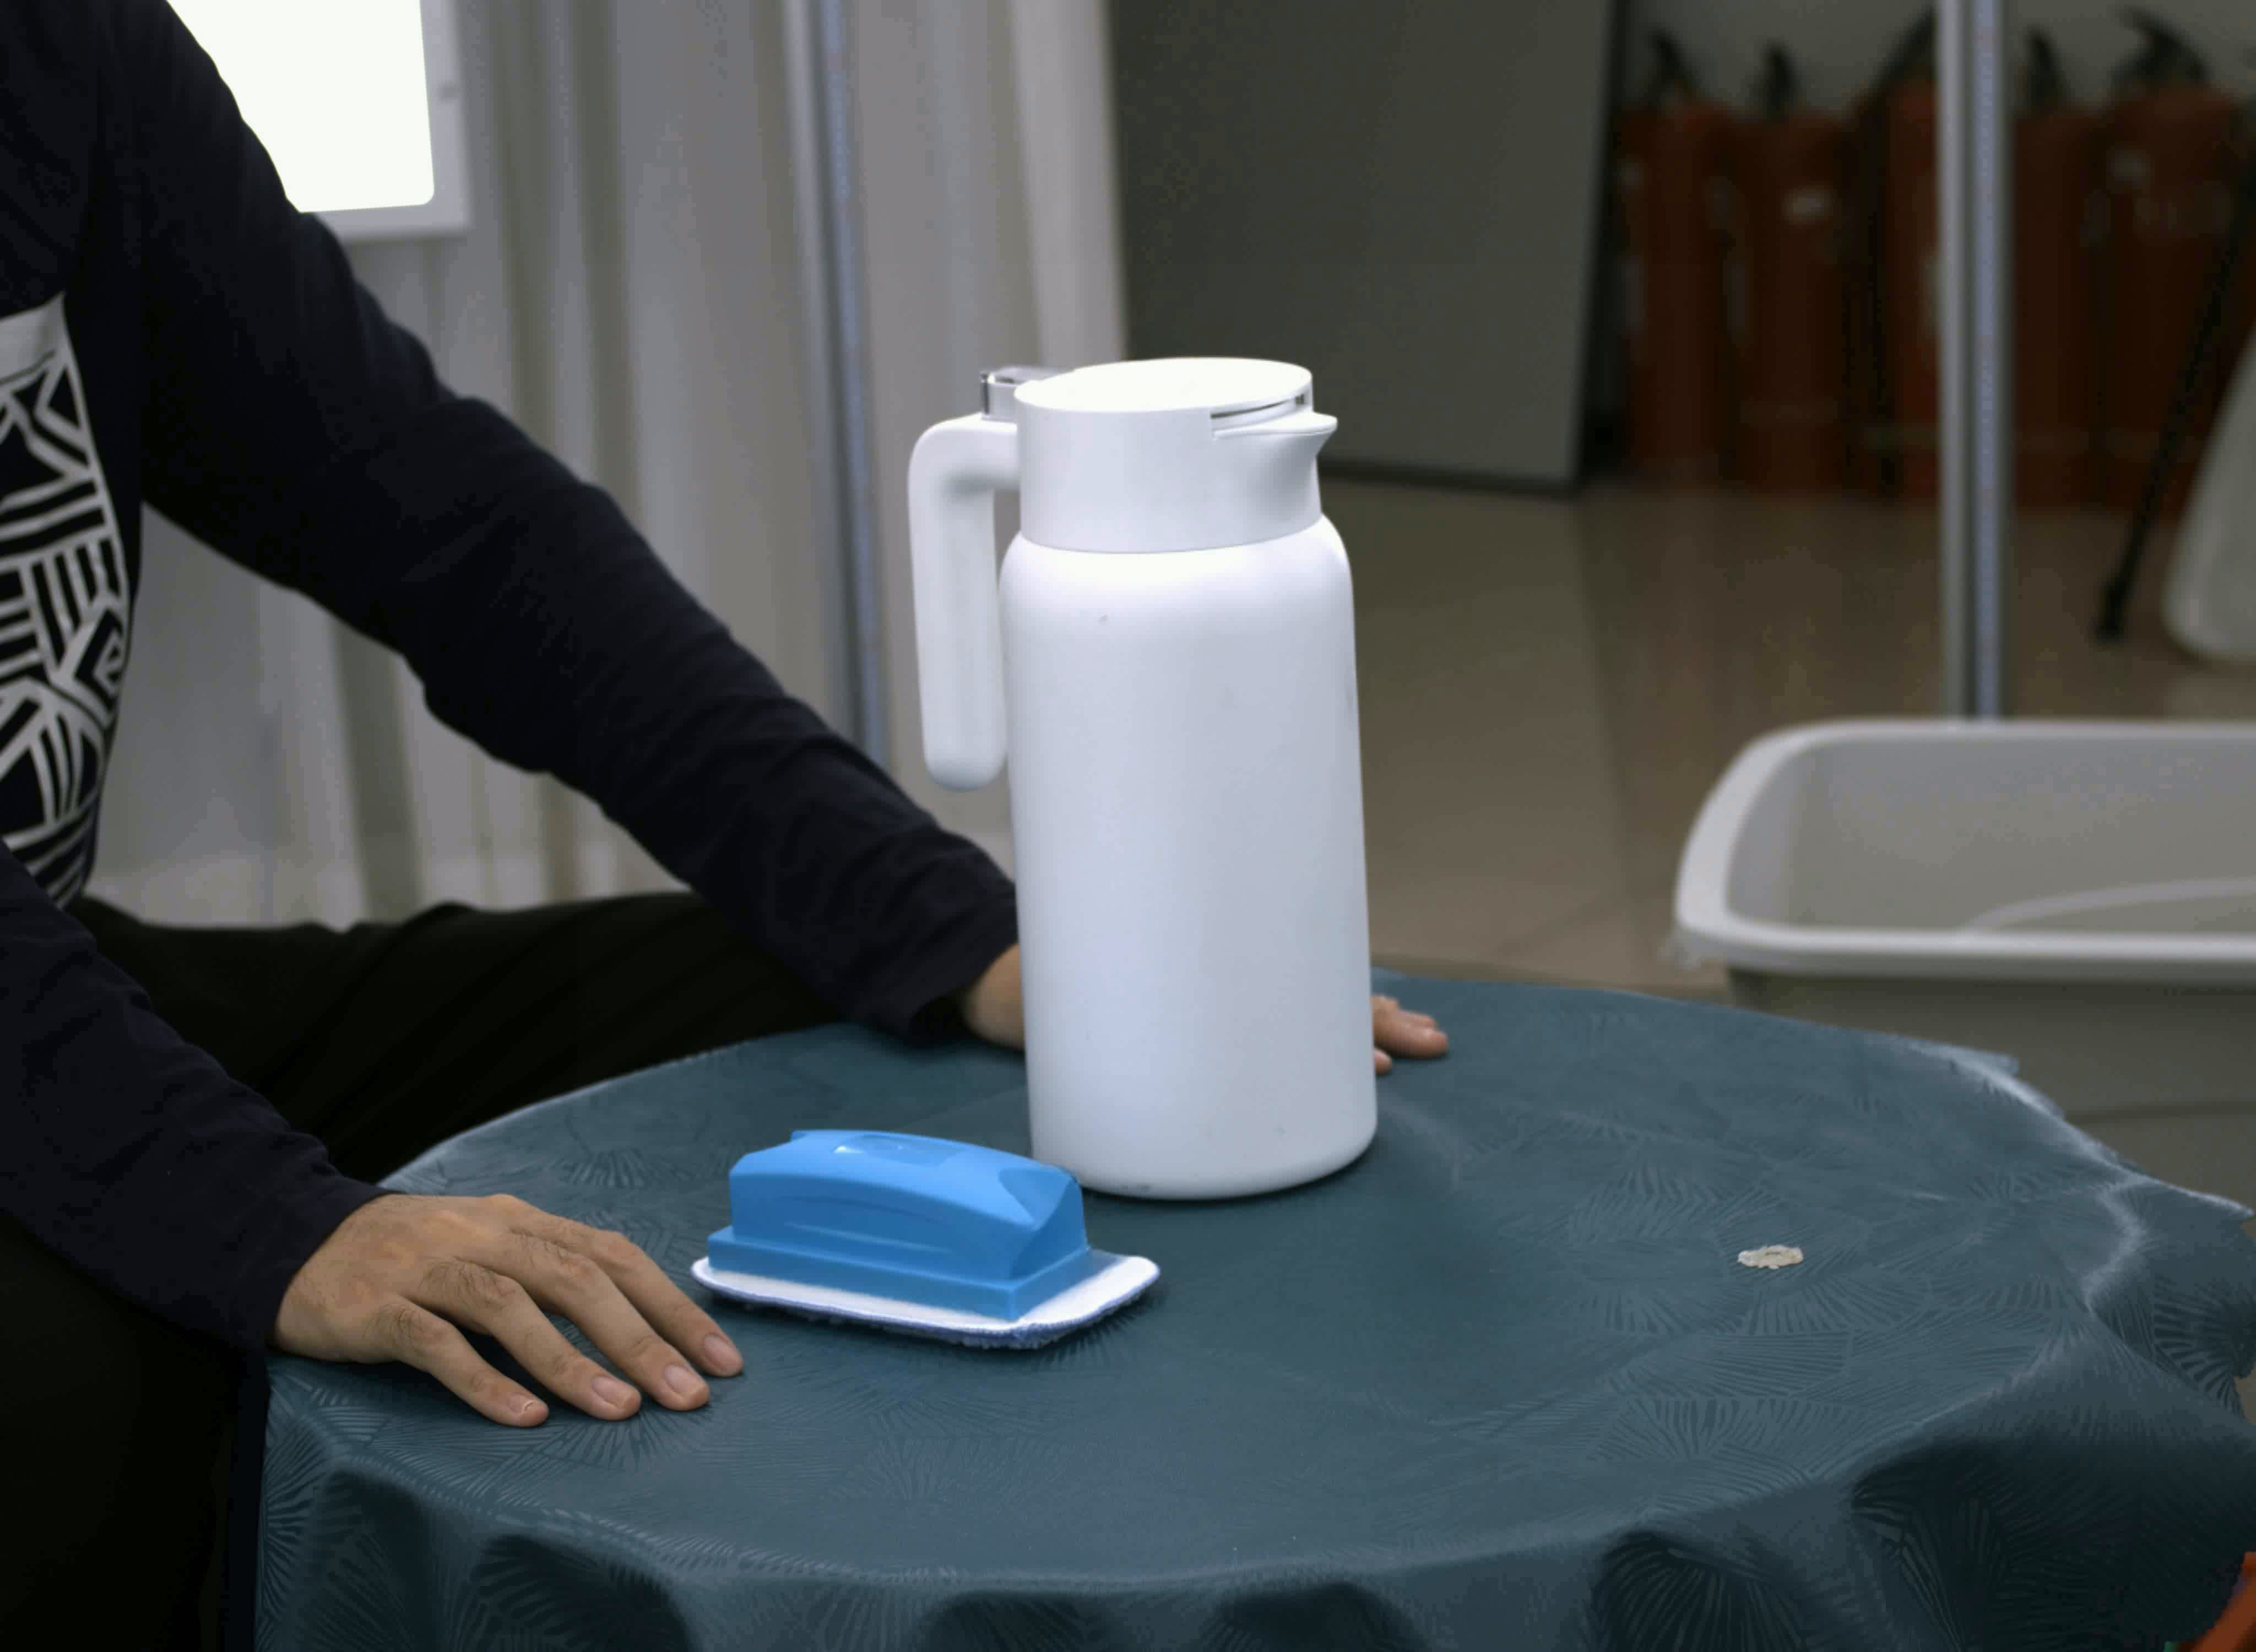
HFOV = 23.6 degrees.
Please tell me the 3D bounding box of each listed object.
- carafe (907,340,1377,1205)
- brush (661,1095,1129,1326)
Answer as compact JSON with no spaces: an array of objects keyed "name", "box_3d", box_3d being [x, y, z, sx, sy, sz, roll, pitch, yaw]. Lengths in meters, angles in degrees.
[{"name":"carafe","box_3d":[0.004,-0.019,1.785,0.174,0.272,0.121,6,18,39]},{"name":"brush","box_3d":[-0.072,0.118,1.678,0.145,0.056,0.082,10,17,36]}]
